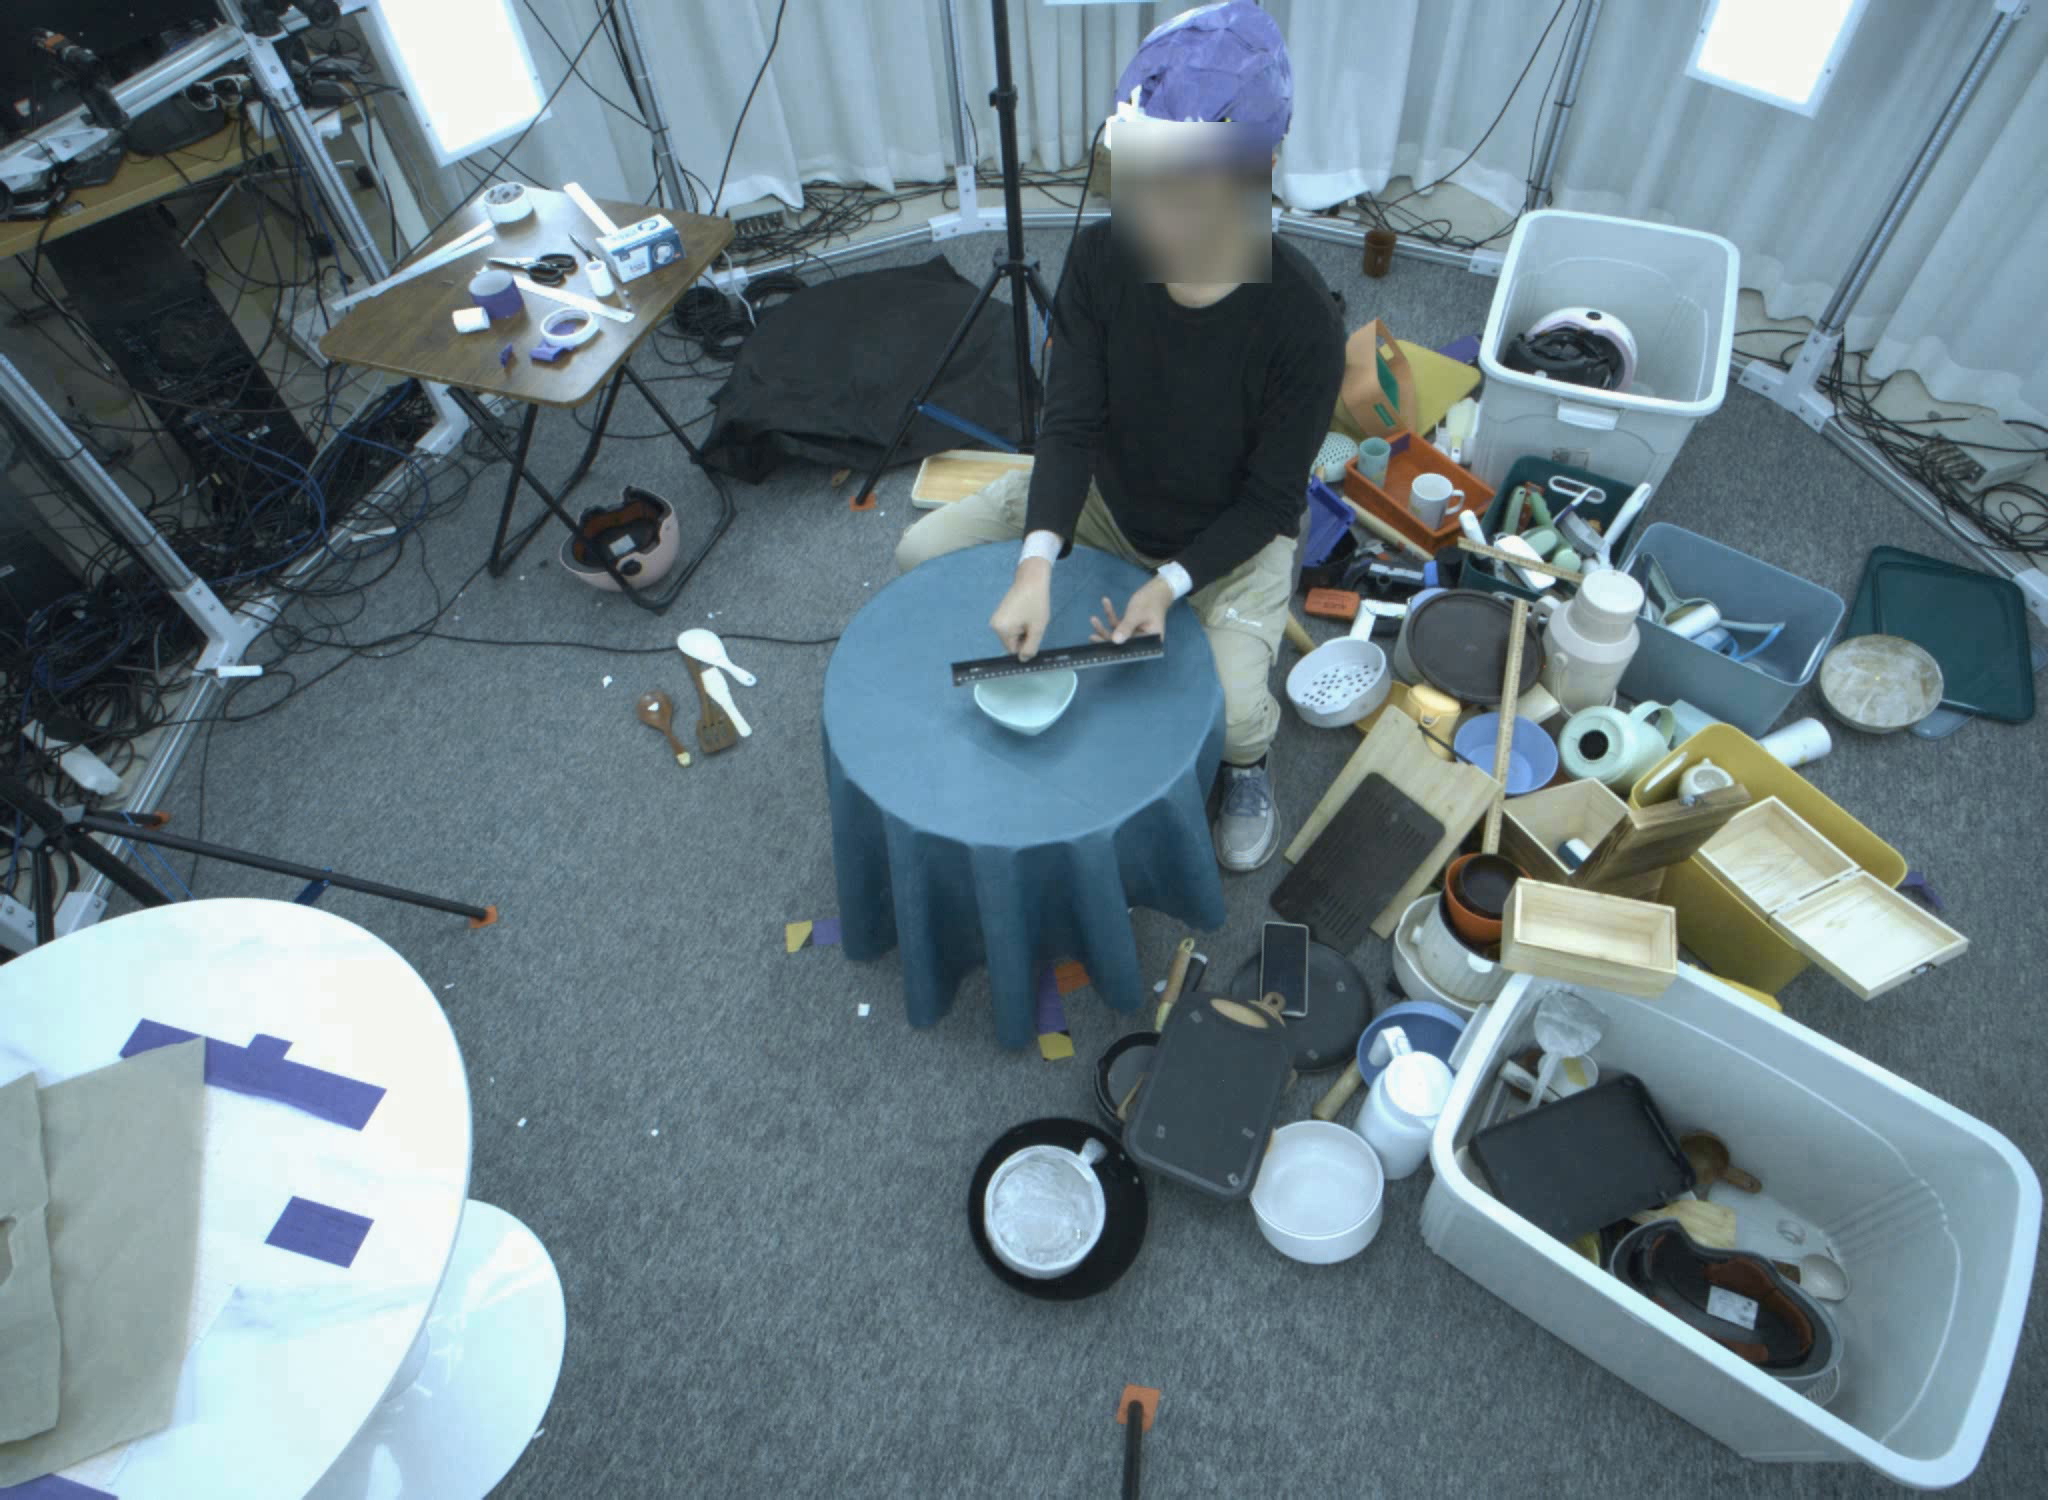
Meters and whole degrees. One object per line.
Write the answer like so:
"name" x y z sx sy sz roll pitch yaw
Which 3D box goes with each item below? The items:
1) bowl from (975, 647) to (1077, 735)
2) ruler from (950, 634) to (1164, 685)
"bowl" 0.005 -0.077 1.809 0.151 0.059 0.150 -1 55 3
"ruler" 0.047 -0.134 1.791 0.313 0.017 0.039 -8 68 -2
